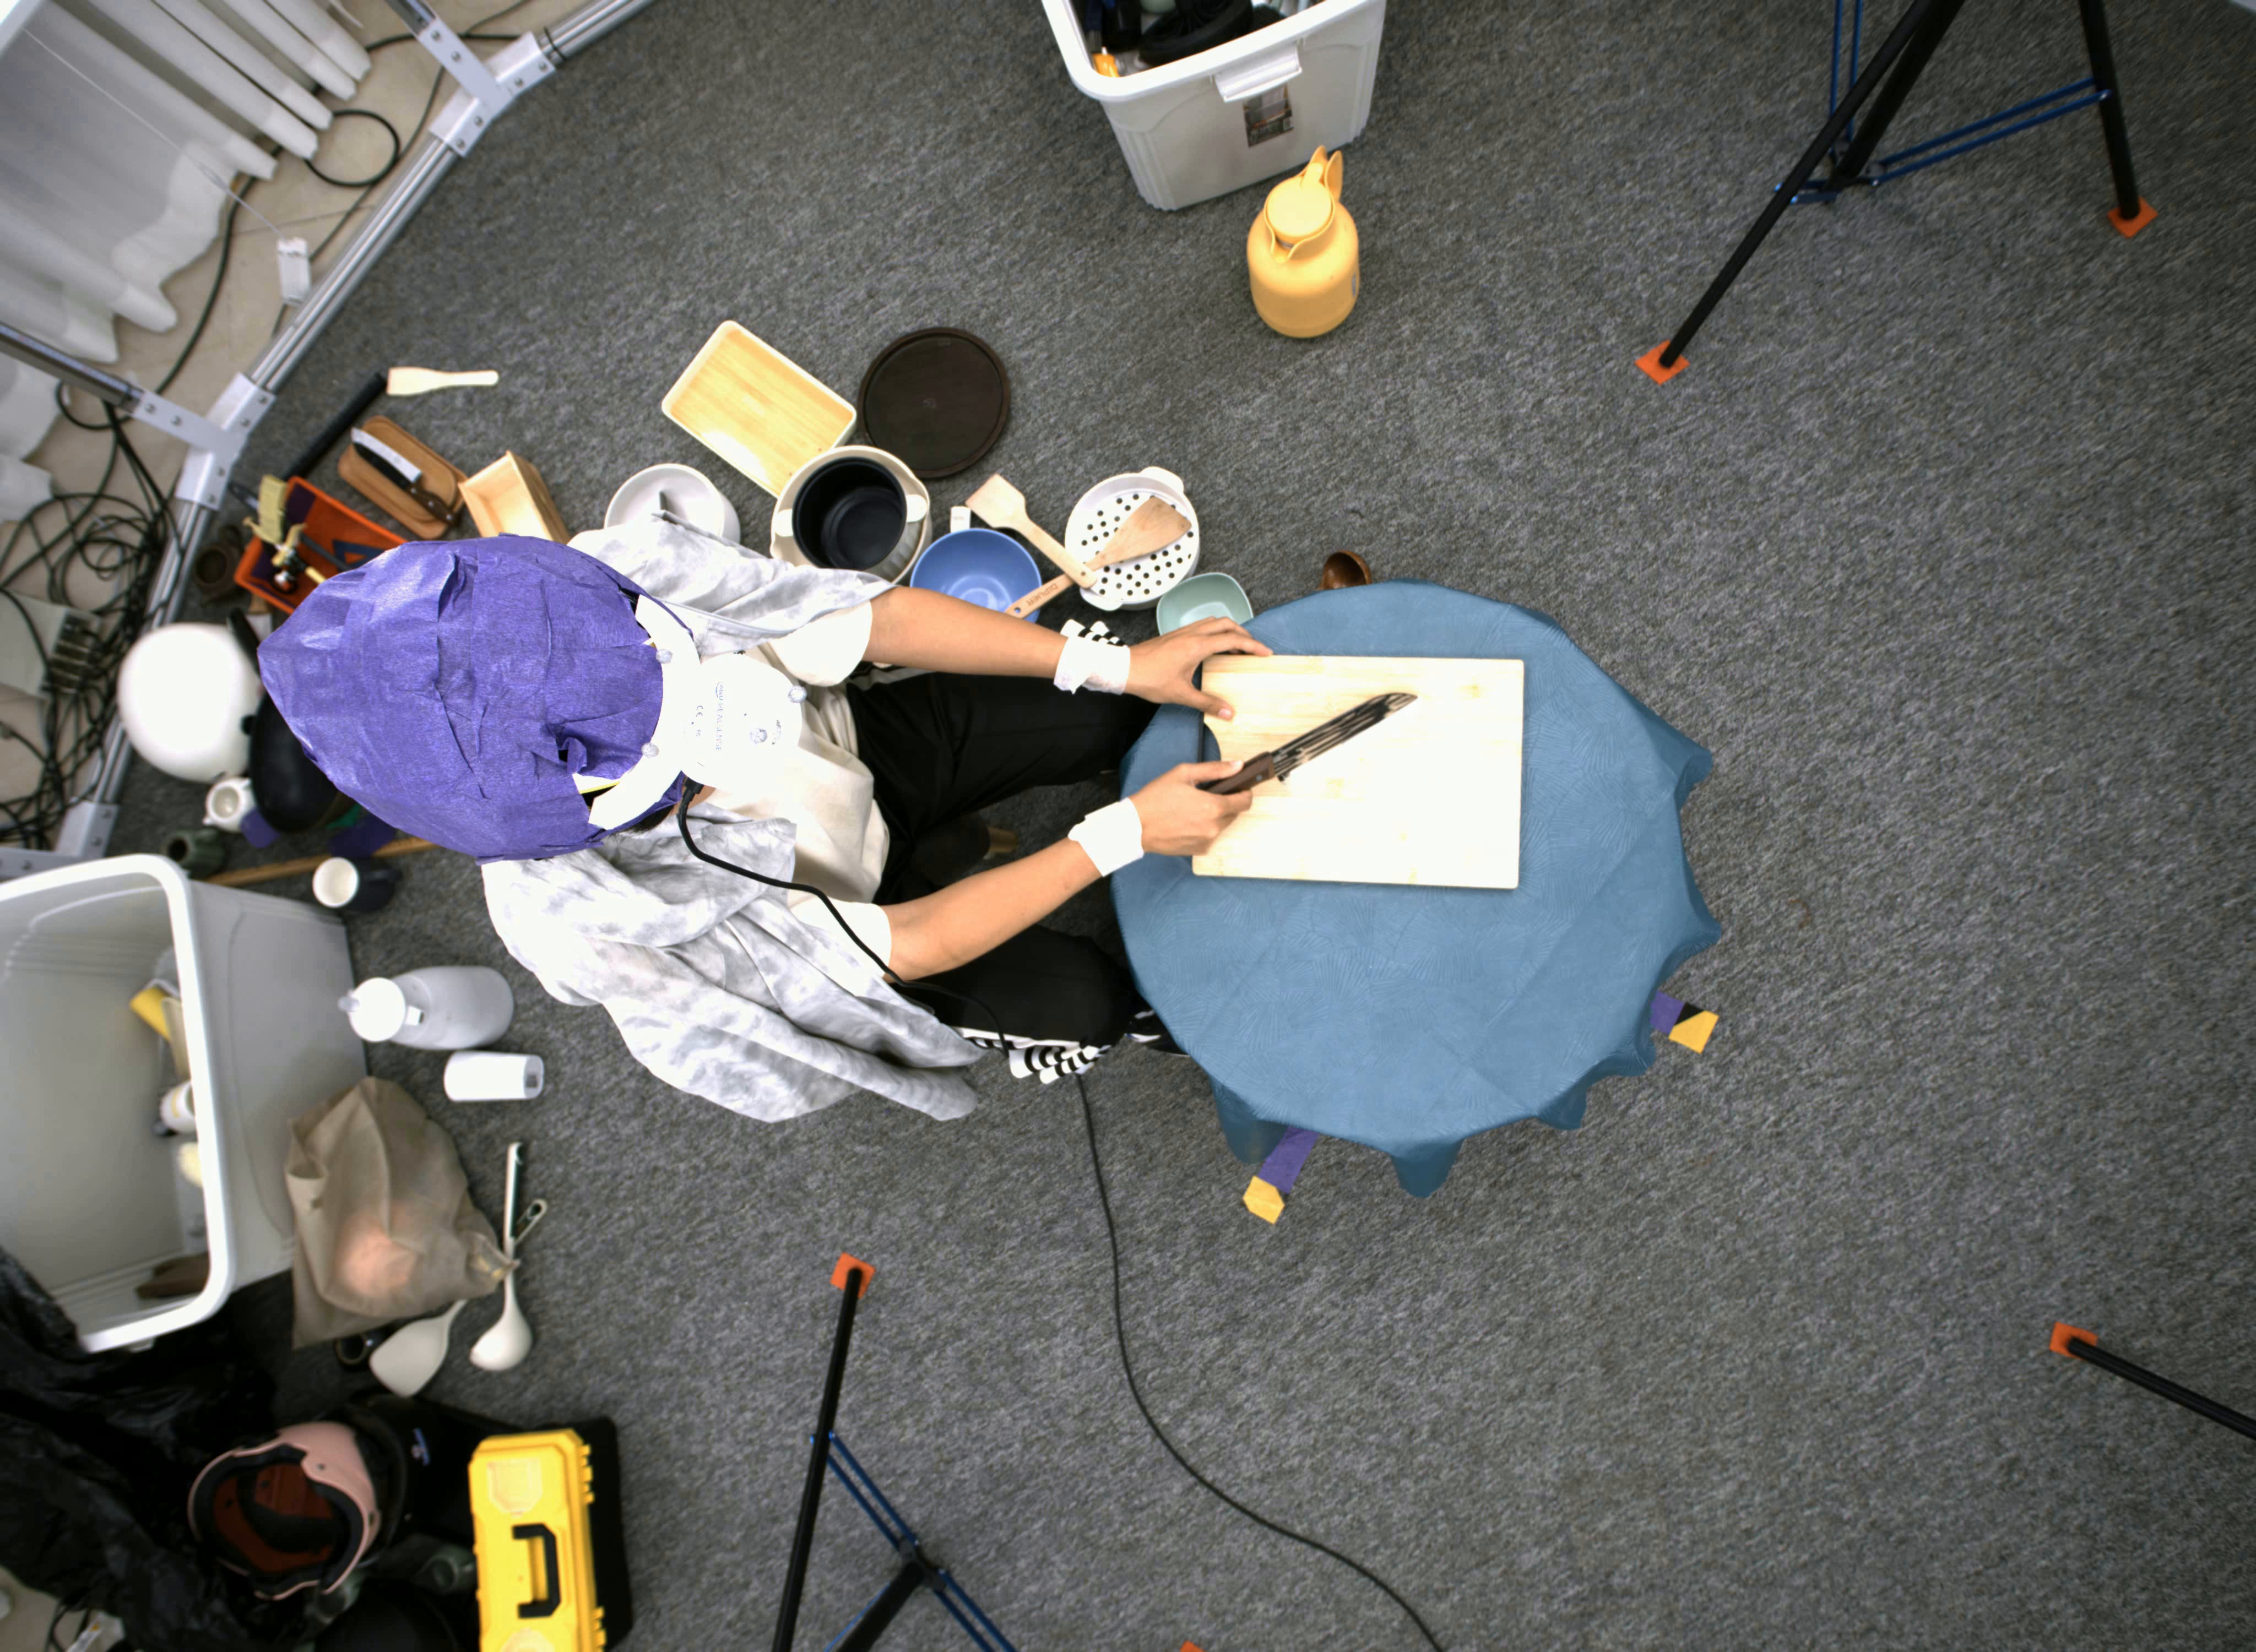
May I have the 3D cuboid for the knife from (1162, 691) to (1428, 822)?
[{"bbox_3d":[0.176,-0.070,1.431,0.300,0.069,0.023,-28,50,3],"label":"knife"}]

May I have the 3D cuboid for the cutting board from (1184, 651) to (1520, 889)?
[{"bbox_3d":[0.237,-0.063,1.463,0.350,0.023,0.249,1,87,11],"label":"cutting board"}]
